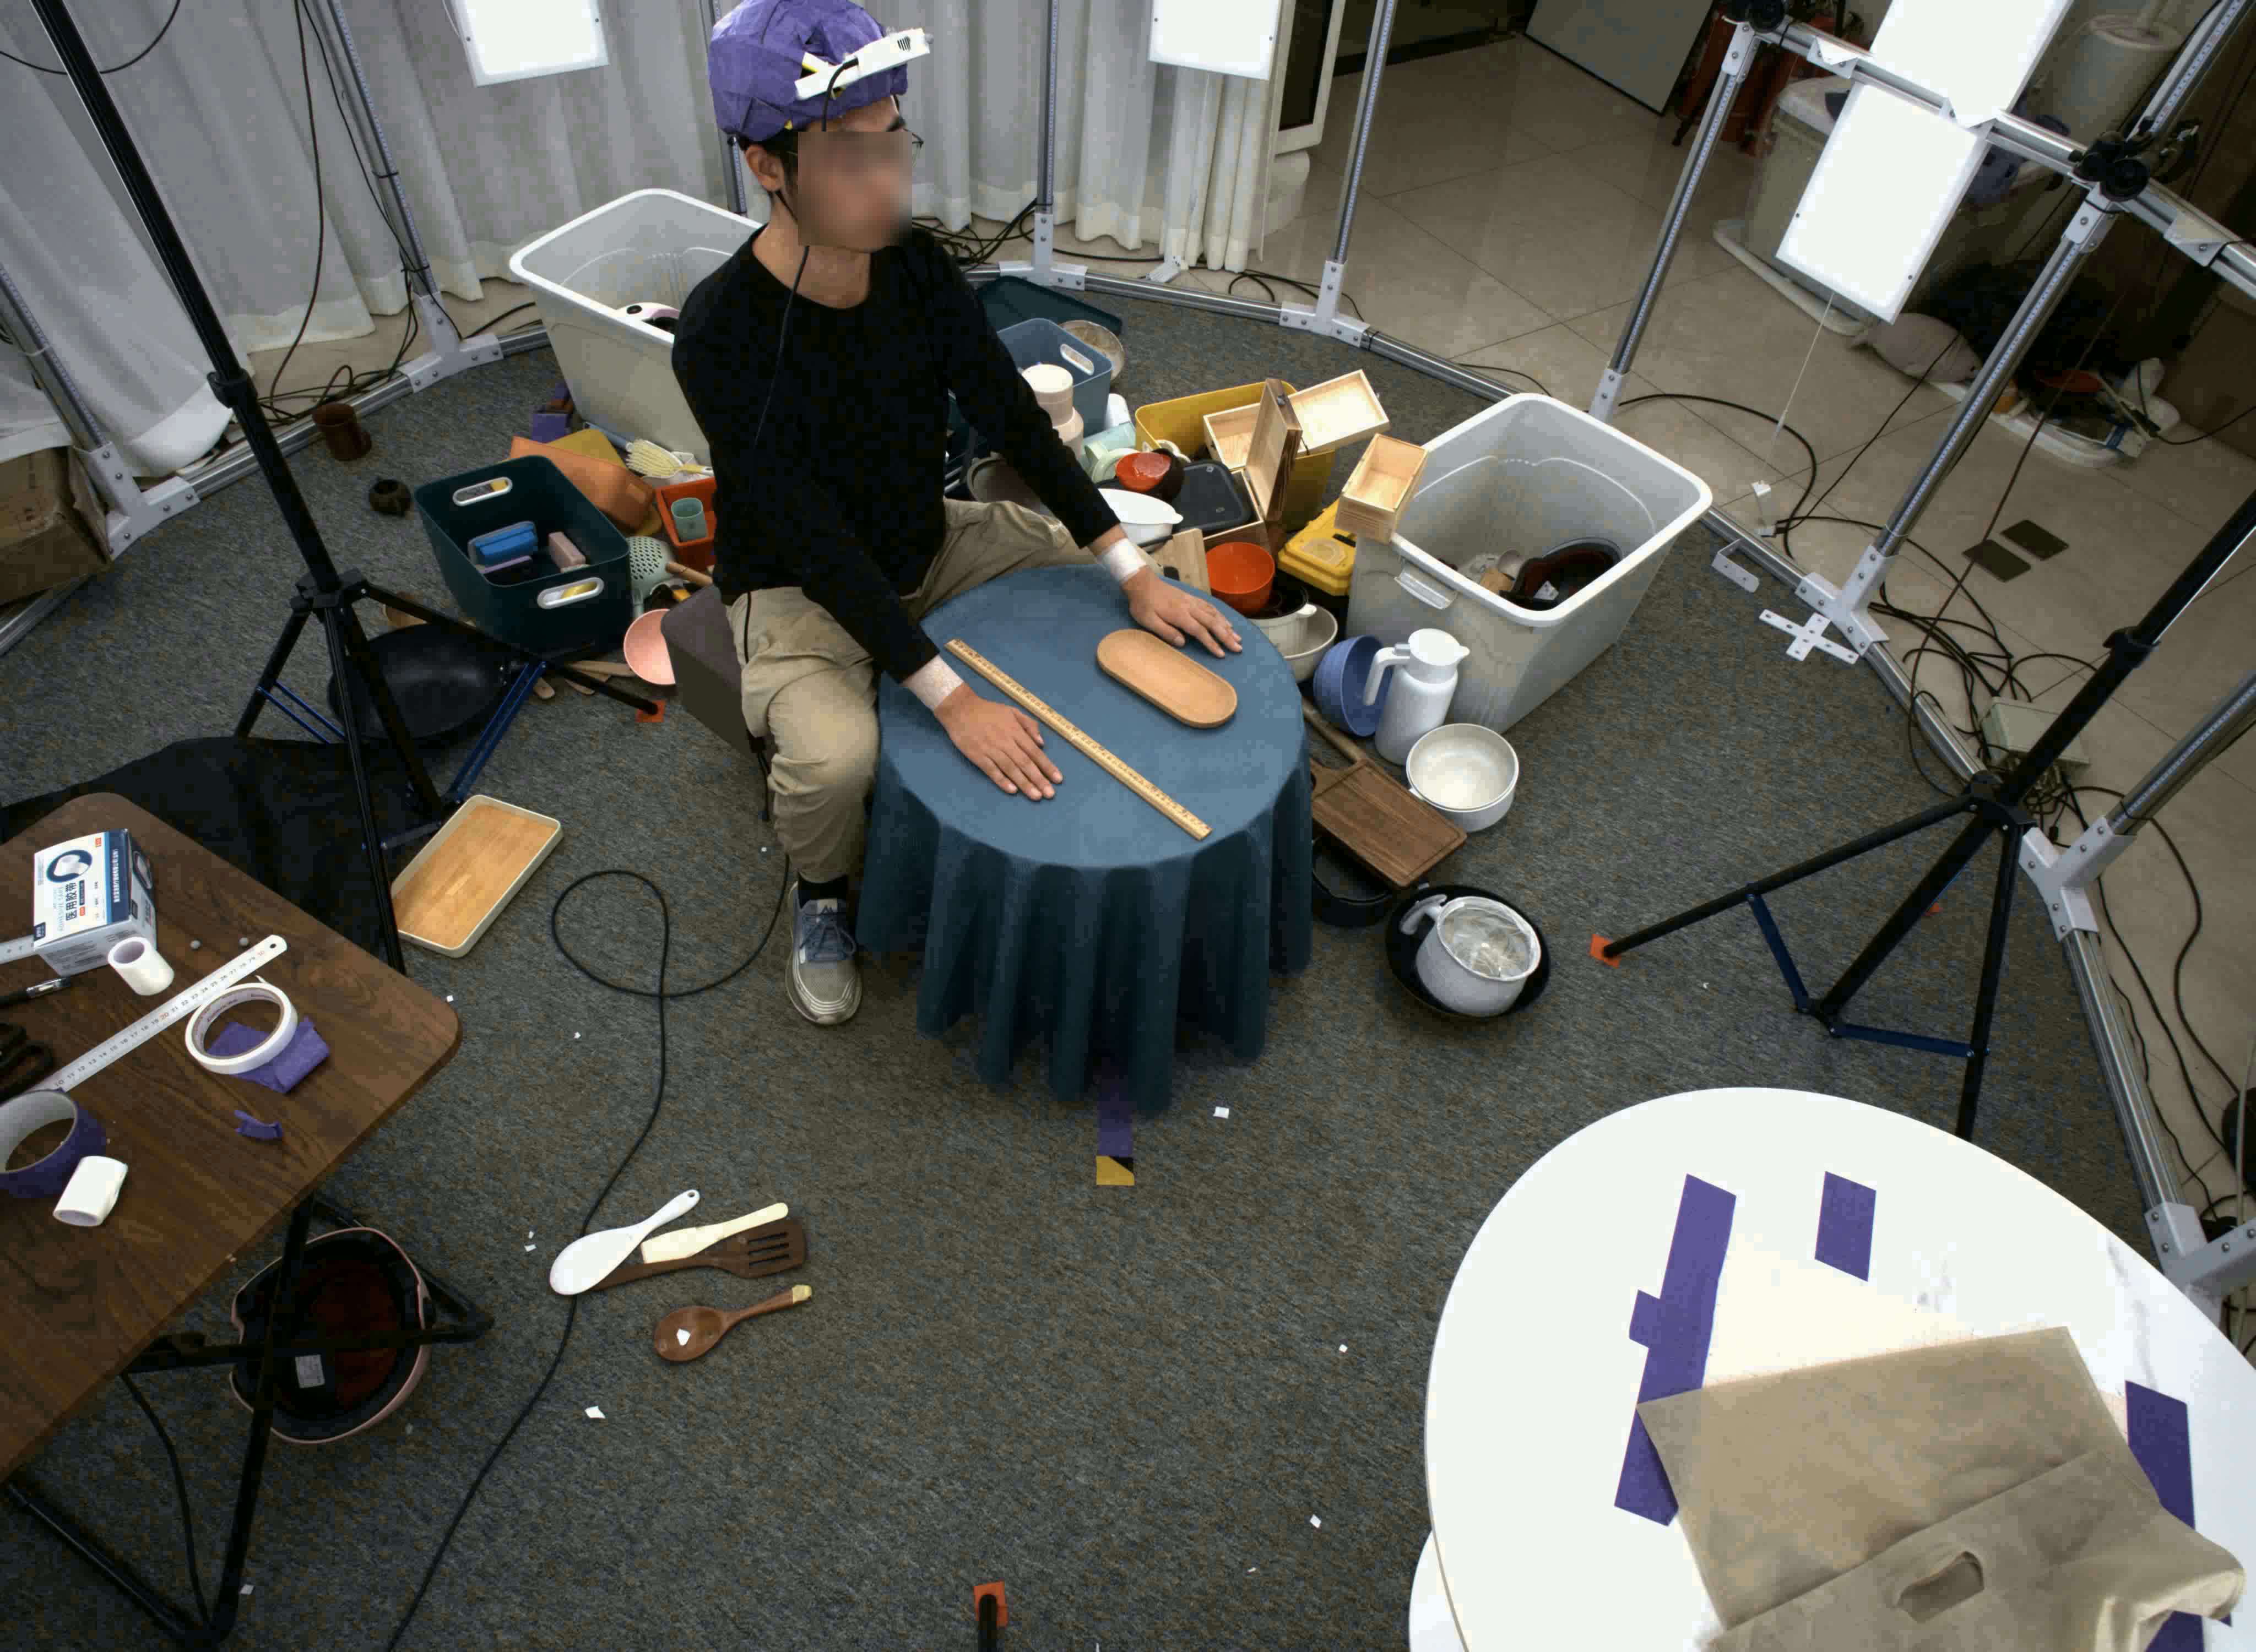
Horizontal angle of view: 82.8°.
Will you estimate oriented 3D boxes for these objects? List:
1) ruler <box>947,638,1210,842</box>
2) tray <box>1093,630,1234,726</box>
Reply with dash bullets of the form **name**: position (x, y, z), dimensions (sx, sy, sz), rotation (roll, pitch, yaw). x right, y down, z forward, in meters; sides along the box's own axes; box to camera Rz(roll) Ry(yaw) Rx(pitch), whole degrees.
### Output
- **ruler**: position (-0.078, -0.128, 1.773), dimensions (0.027, 0.006, 0.508), rotation (-34, 59, -31)
- **tray**: position (0.050, -0.214, 1.848), dimensions (0.234, 0.020, 0.103), rotation (32, 53, 24)
